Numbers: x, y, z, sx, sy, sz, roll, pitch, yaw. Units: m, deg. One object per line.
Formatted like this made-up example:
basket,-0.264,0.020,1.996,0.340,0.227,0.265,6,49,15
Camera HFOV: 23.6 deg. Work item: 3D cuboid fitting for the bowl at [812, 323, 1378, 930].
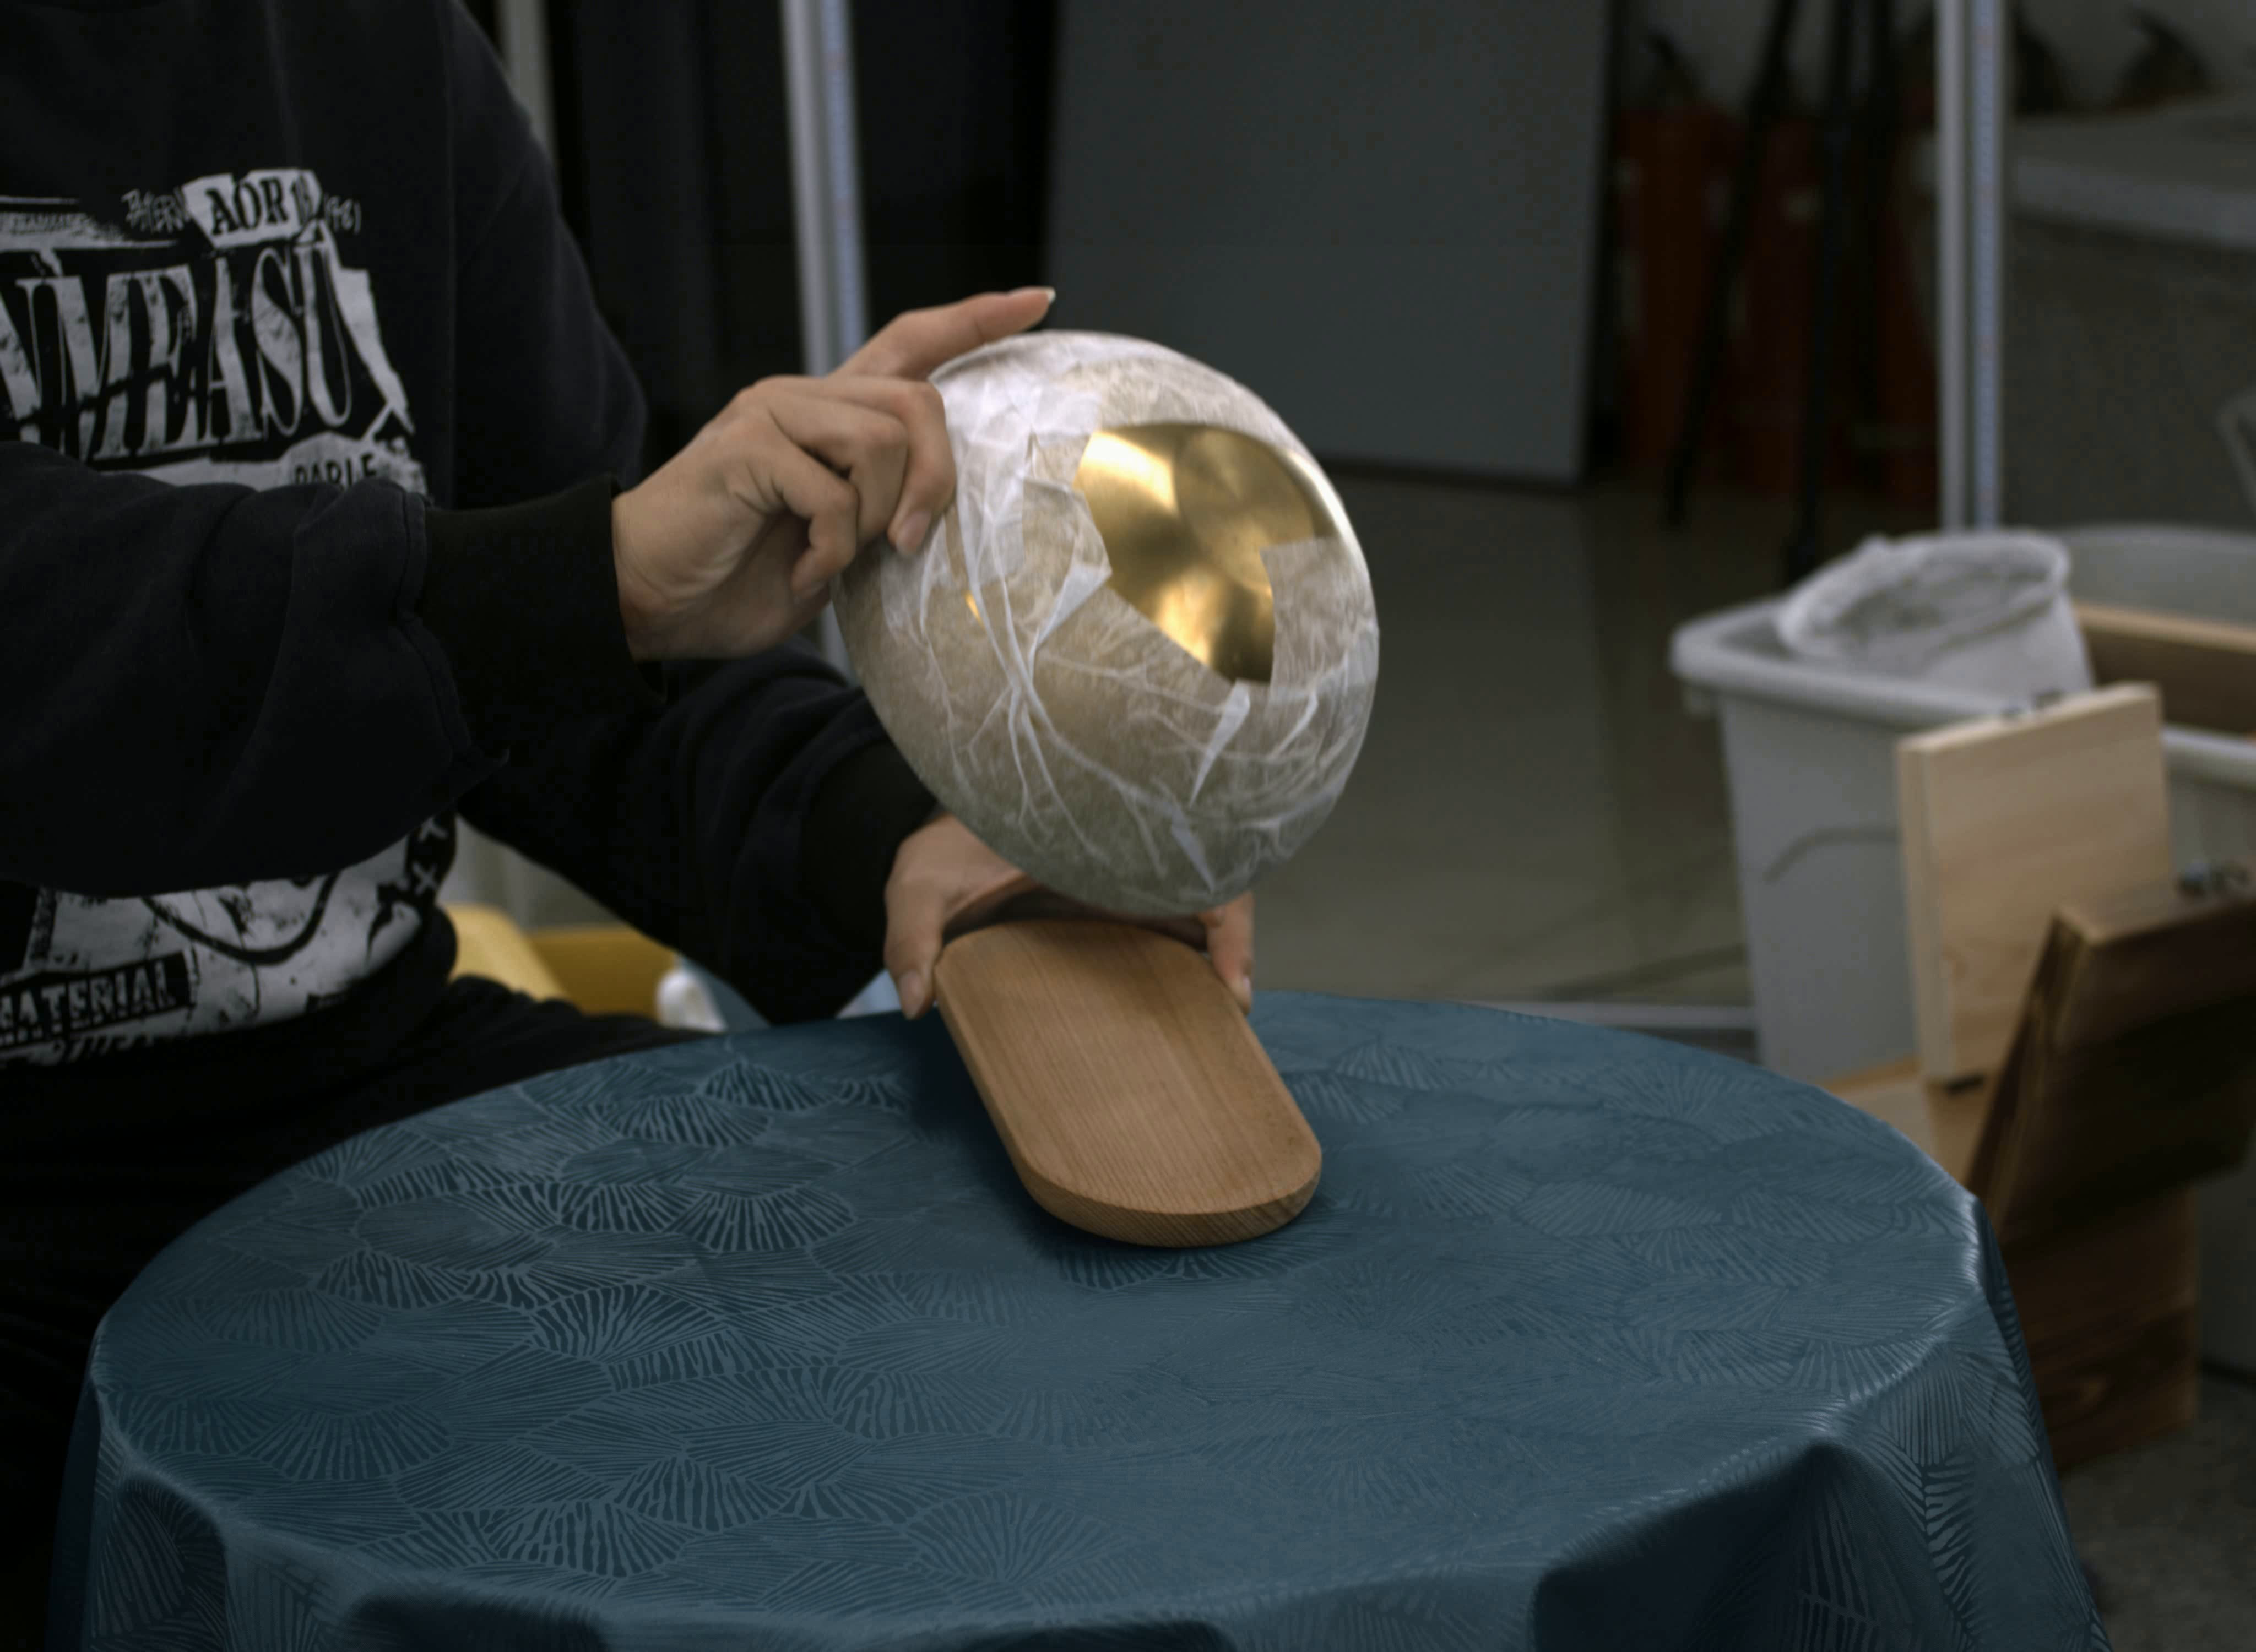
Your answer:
bowl,0.009,-0.075,1.716,0.210,0.217,0.095,-18,-13,-47

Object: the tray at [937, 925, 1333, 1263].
tray,0.000,0.087,1.803,0.100,0.020,0.233,-5,26,-13
